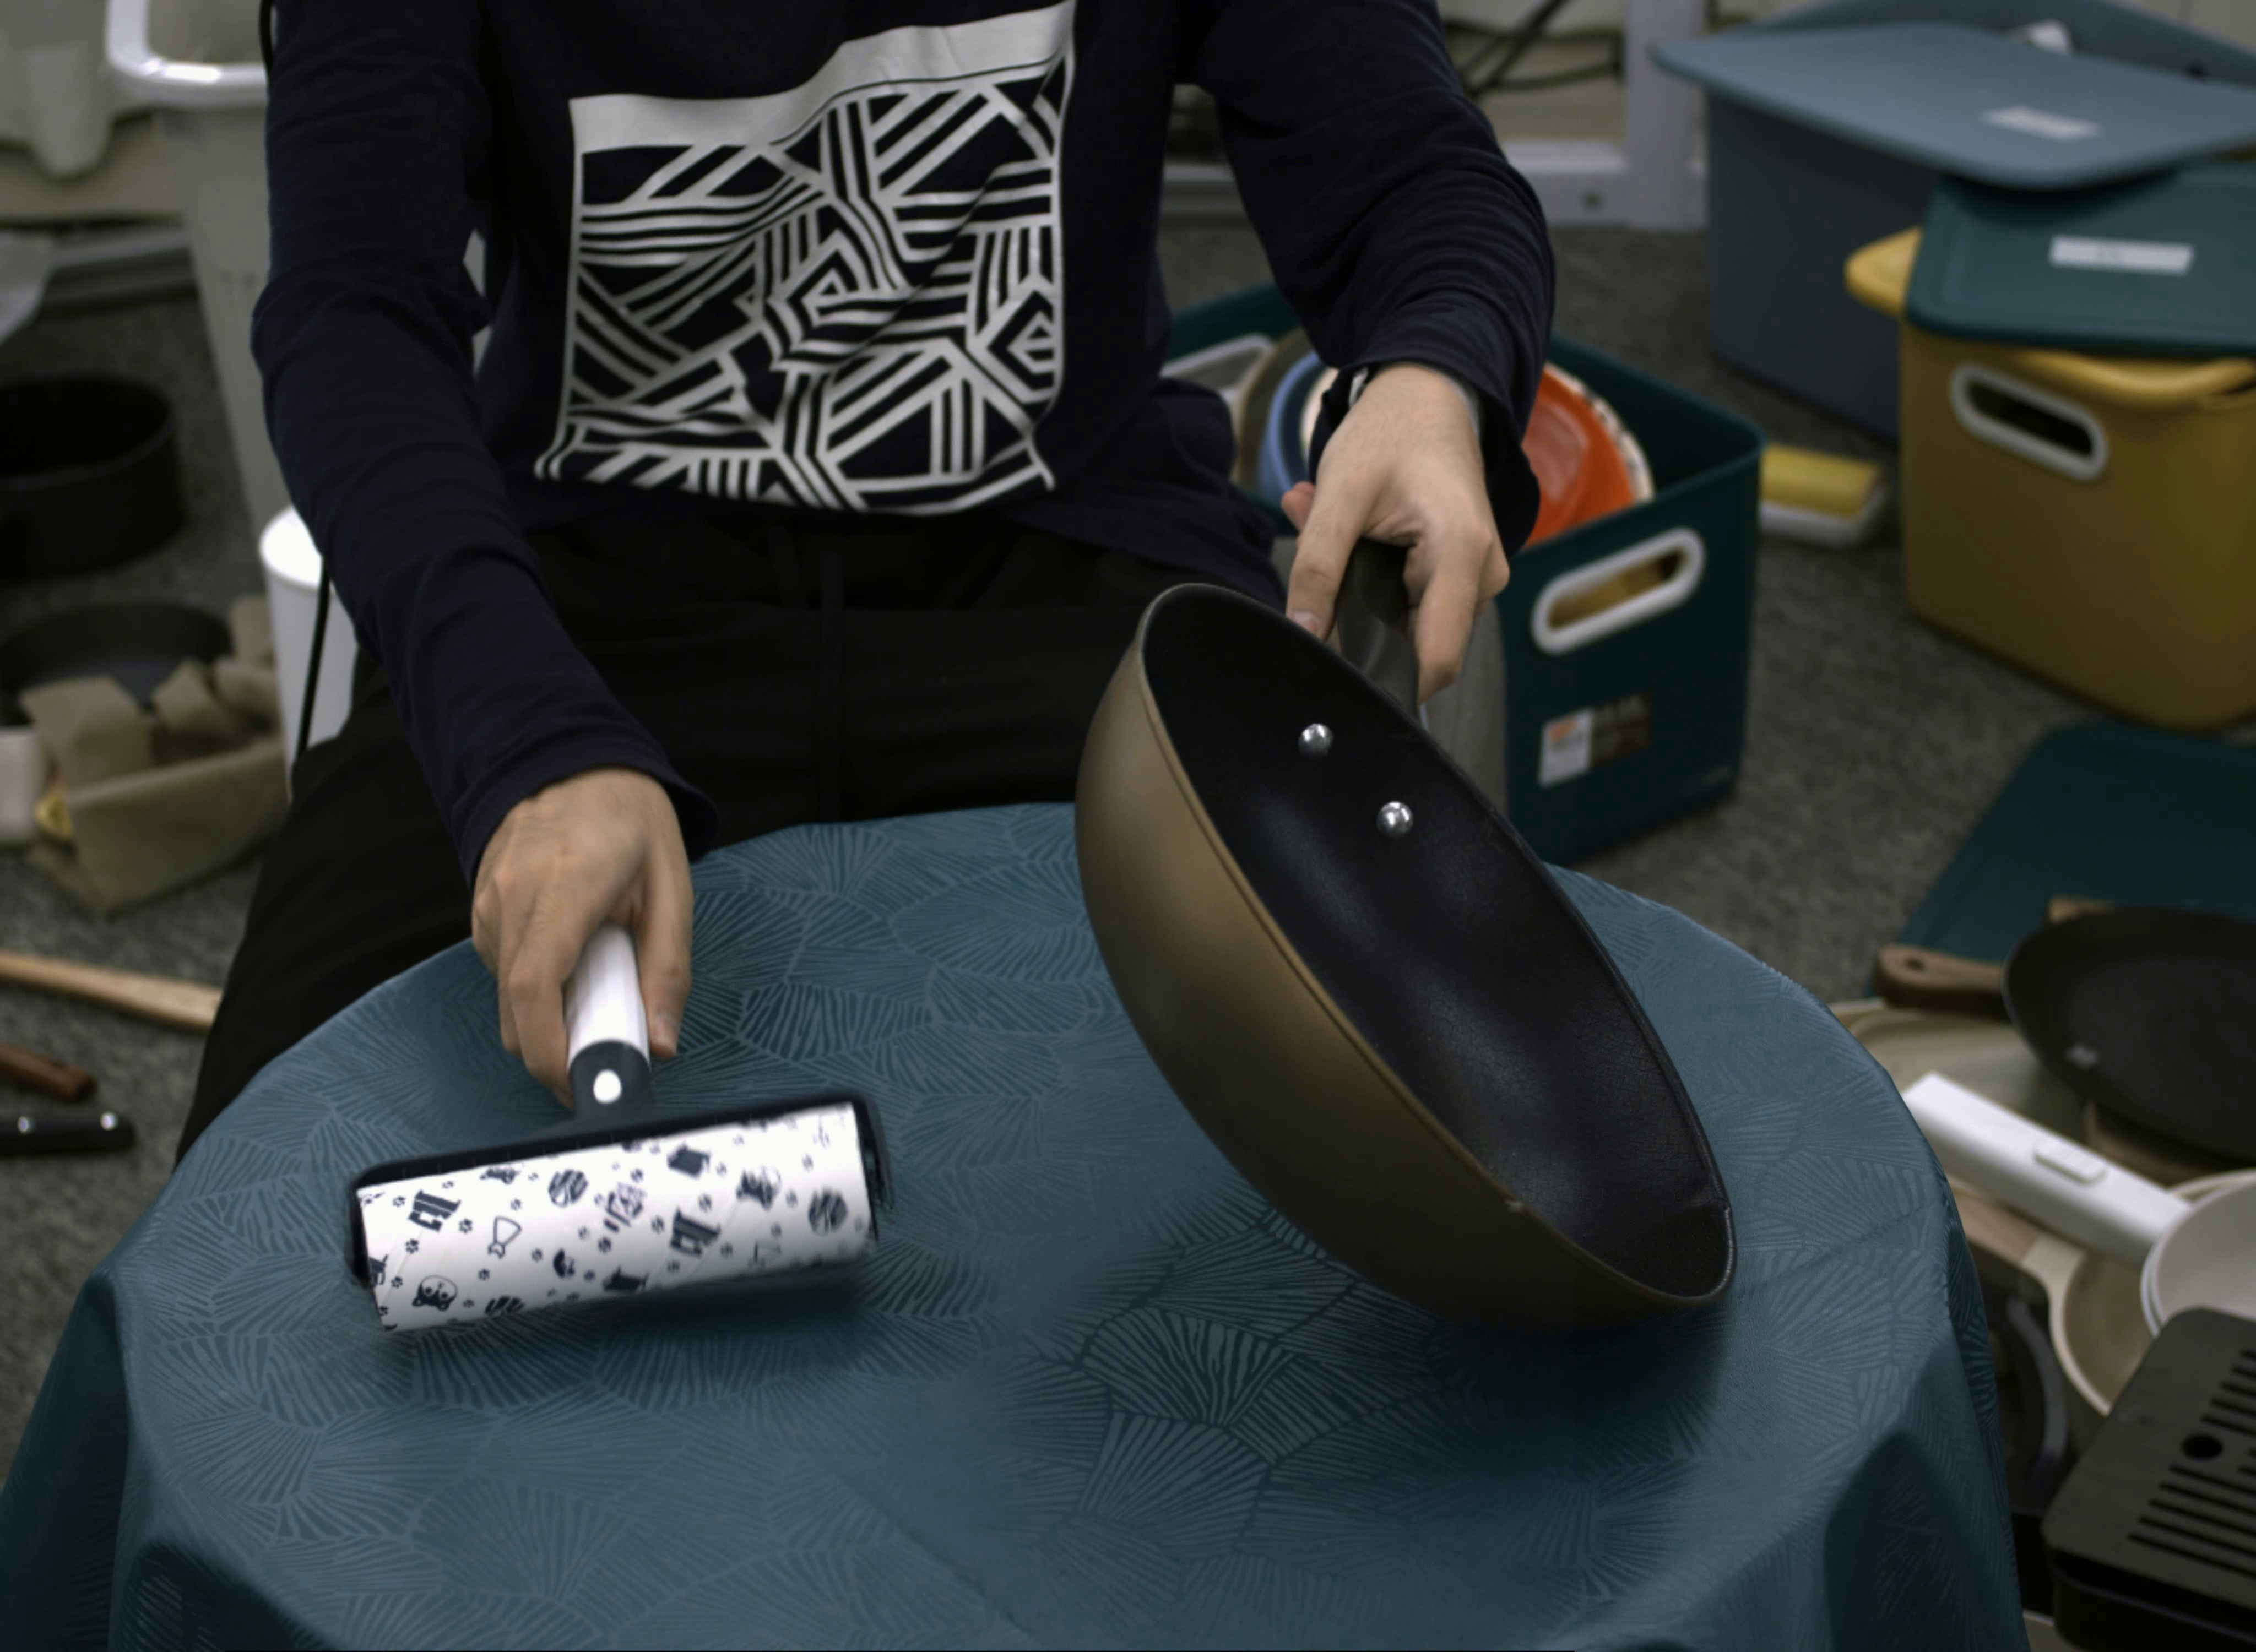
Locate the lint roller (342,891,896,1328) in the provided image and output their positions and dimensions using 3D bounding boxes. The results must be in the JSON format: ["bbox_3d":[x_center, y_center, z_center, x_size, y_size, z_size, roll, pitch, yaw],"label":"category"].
[{"bbox_3d":[-0.177,0.080,1.882,0.176,0.050,0.250,-9,28,-5],"label":"lint roller"}]

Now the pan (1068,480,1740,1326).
[{"bbox_3d":[0.067,0.009,1.846,0.086,0.286,0.470,-40,24,17],"label":"pan"}]
